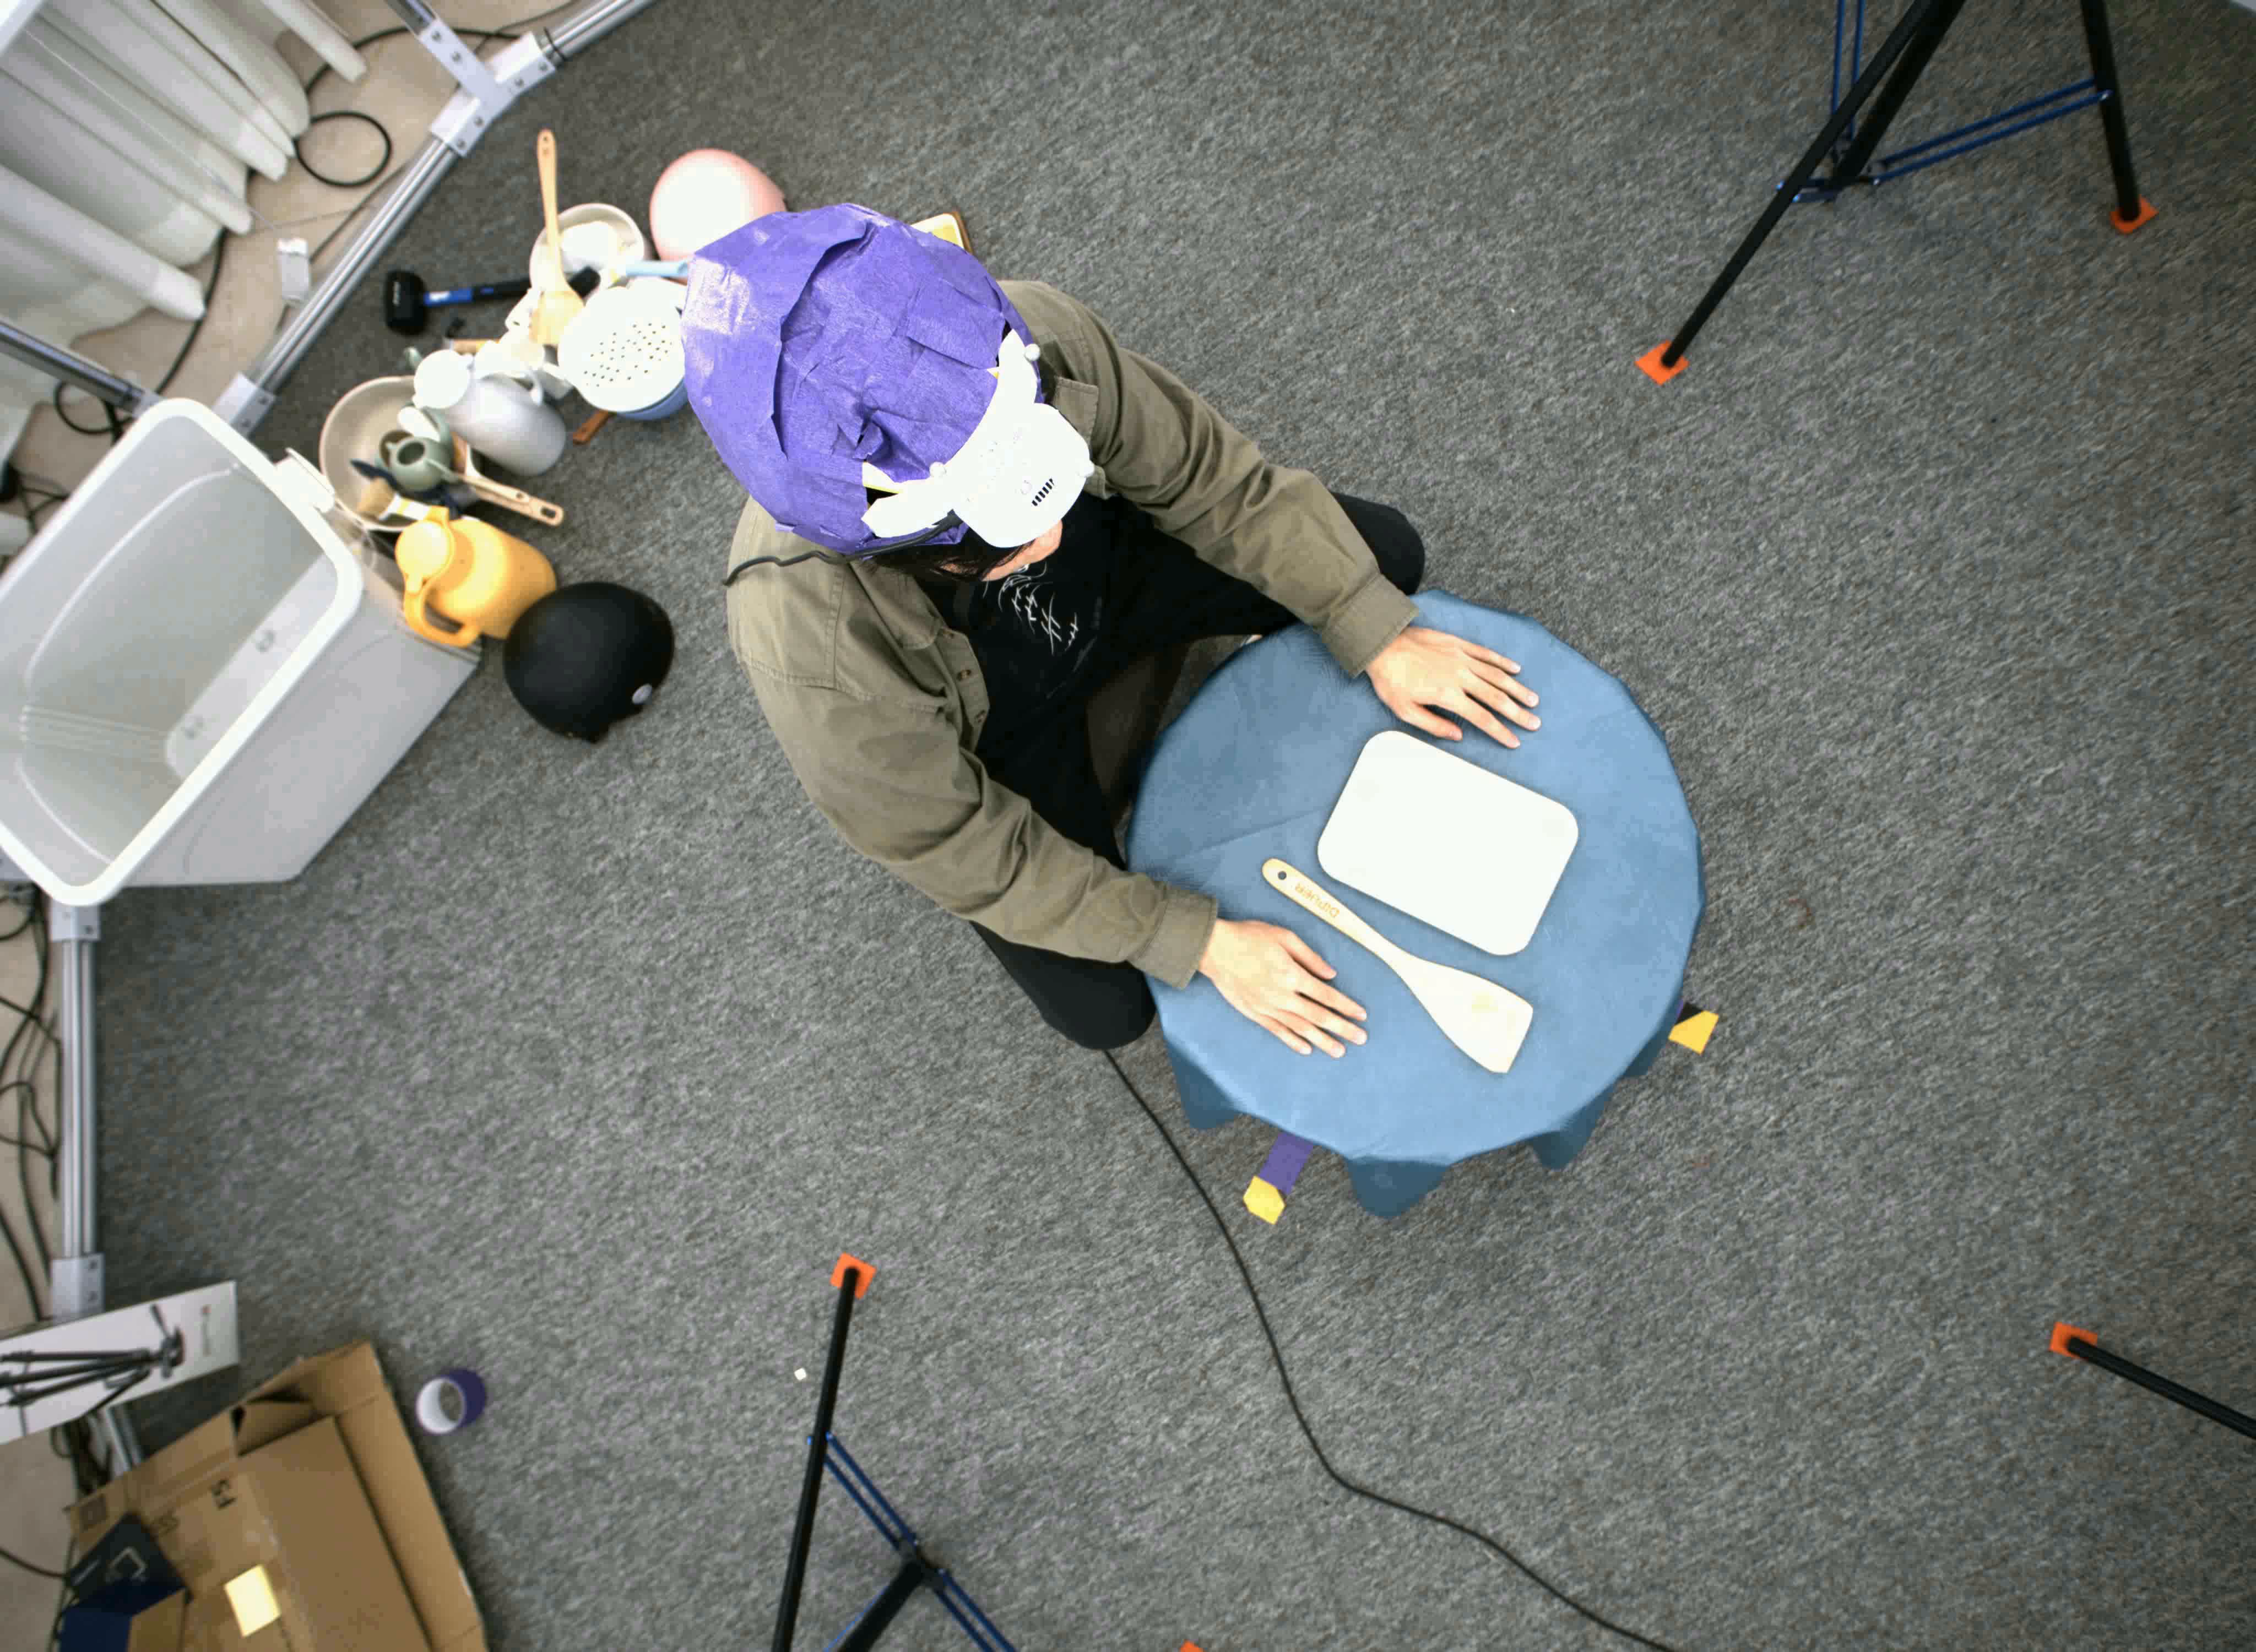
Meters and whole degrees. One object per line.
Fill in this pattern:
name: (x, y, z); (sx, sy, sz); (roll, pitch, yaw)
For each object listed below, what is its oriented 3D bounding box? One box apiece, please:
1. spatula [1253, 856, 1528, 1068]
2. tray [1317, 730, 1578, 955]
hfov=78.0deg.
spatula: (0.268, 0.126, 1.438); (0.327, 0.016, 0.080); (35, 93, 9)
tray: (0.330, 0.015, 1.431); (0.239, 0.017, 0.171); (26, 92, 10)
